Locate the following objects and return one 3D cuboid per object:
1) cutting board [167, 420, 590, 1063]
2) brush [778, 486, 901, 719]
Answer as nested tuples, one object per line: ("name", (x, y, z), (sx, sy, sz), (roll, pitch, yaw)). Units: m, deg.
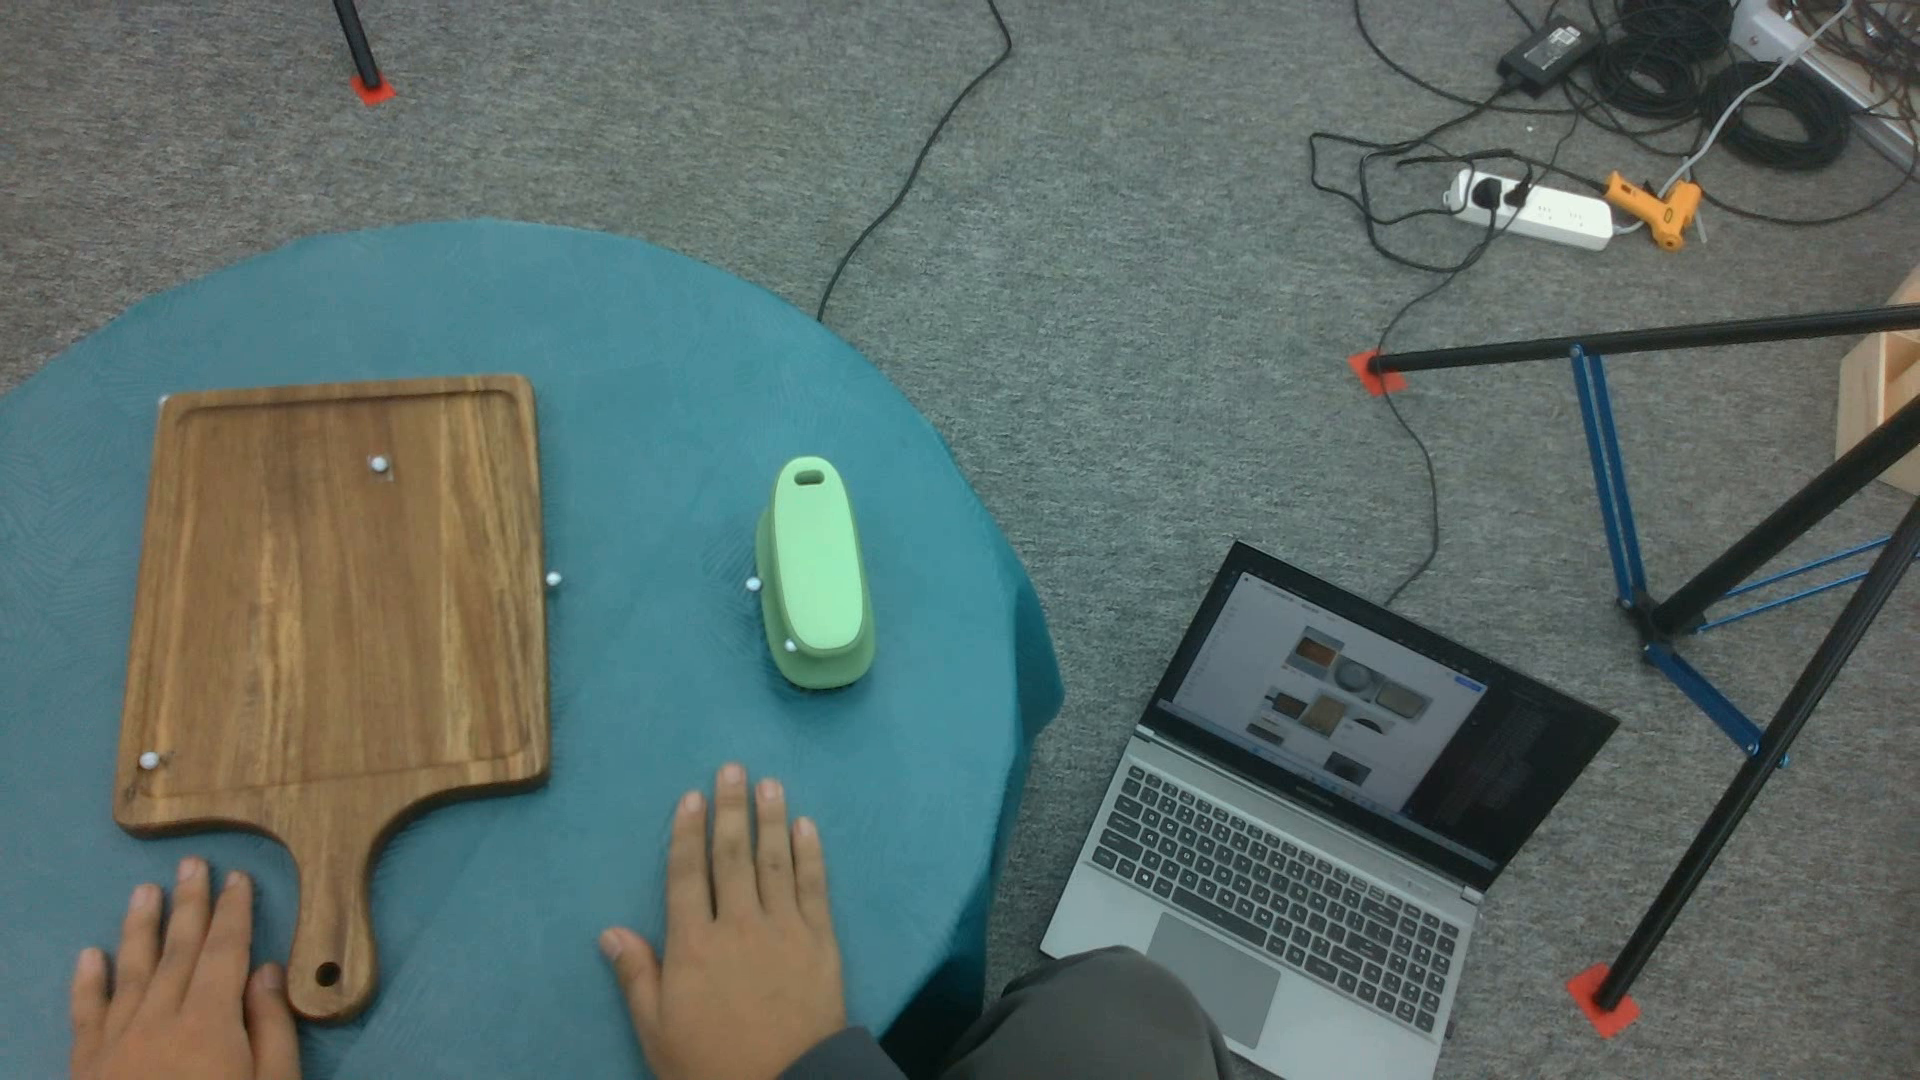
("cutting board", (-0.302, 0.091, 0.722), (0.201, 0.023, 0.353), (-7, 60, -11))
("brush", (-0.068, 0.038, 0.767), (0.060, 0.075, 0.123), (-9, 74, -12))
